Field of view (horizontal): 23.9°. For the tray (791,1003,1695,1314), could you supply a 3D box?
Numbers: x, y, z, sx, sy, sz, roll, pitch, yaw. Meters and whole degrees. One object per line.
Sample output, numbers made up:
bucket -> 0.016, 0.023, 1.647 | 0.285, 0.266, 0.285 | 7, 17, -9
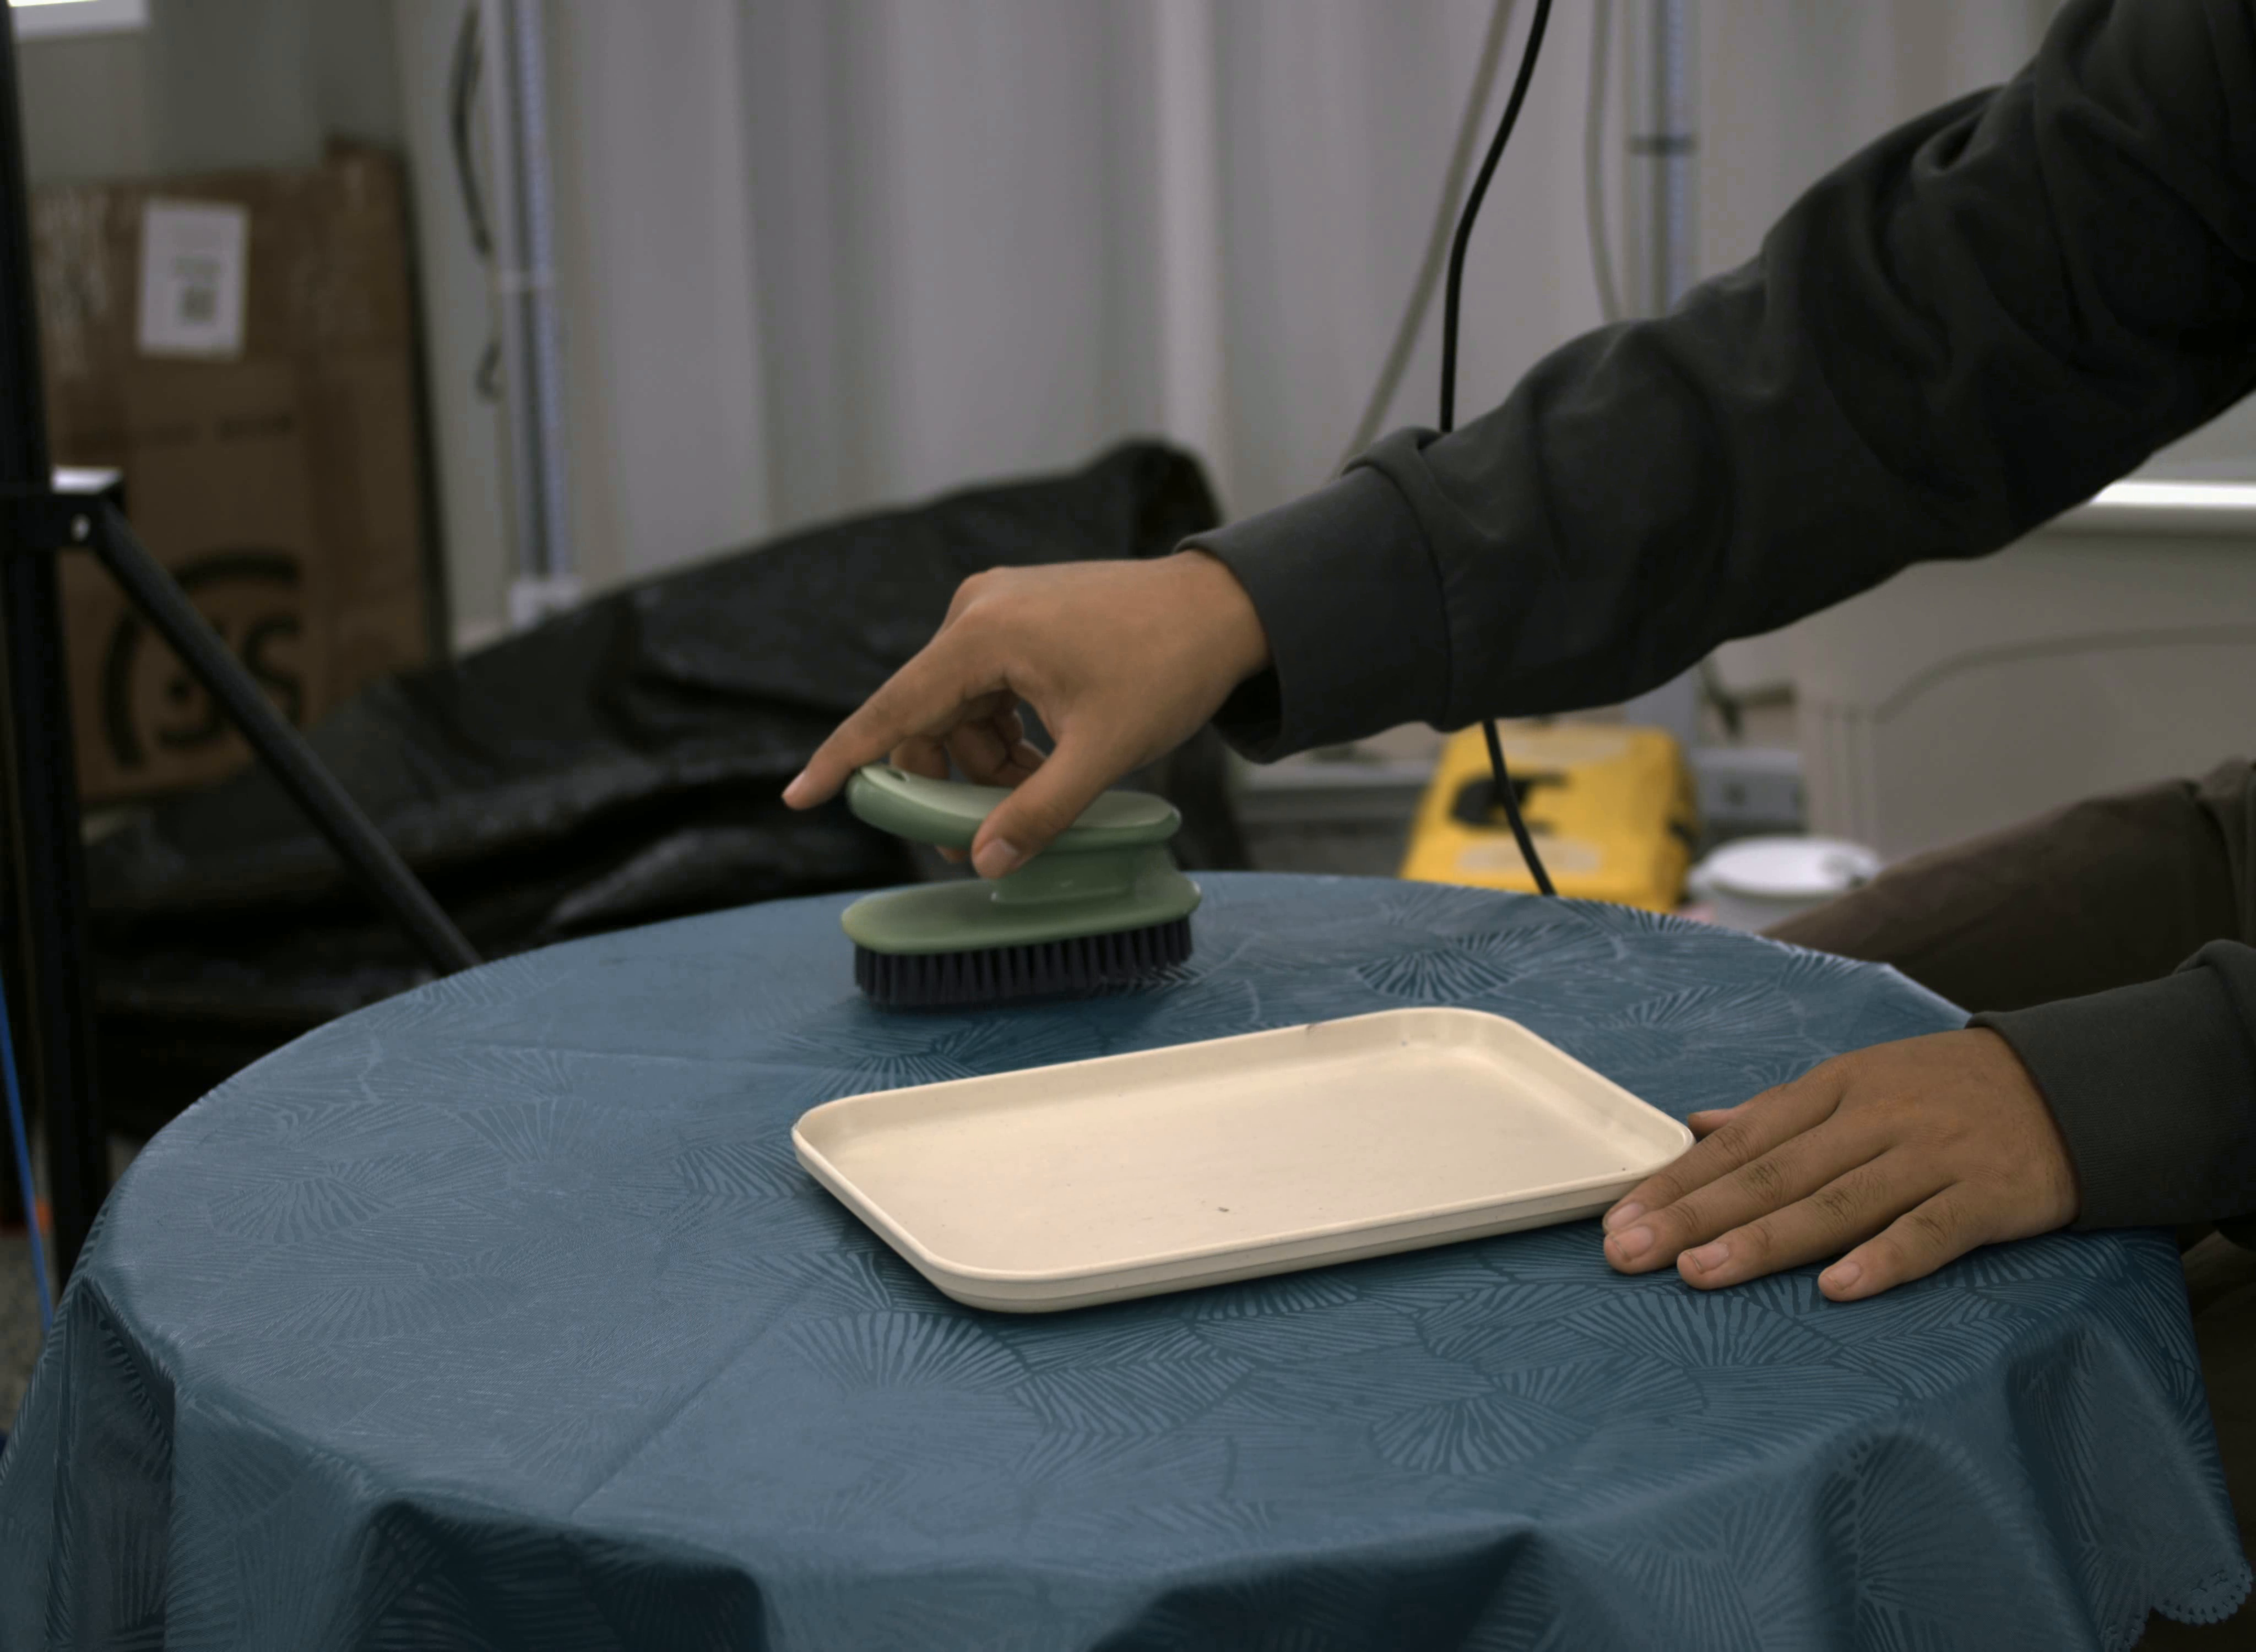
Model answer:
tray -> 0.033, 0.097, 1.557 | 0.235, 0.017, 0.174 | -8, 17, -20

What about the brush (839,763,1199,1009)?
brush -> -0.038, 0.023, 1.746 | 0.121, 0.076, 0.060 | 7, 15, -16
